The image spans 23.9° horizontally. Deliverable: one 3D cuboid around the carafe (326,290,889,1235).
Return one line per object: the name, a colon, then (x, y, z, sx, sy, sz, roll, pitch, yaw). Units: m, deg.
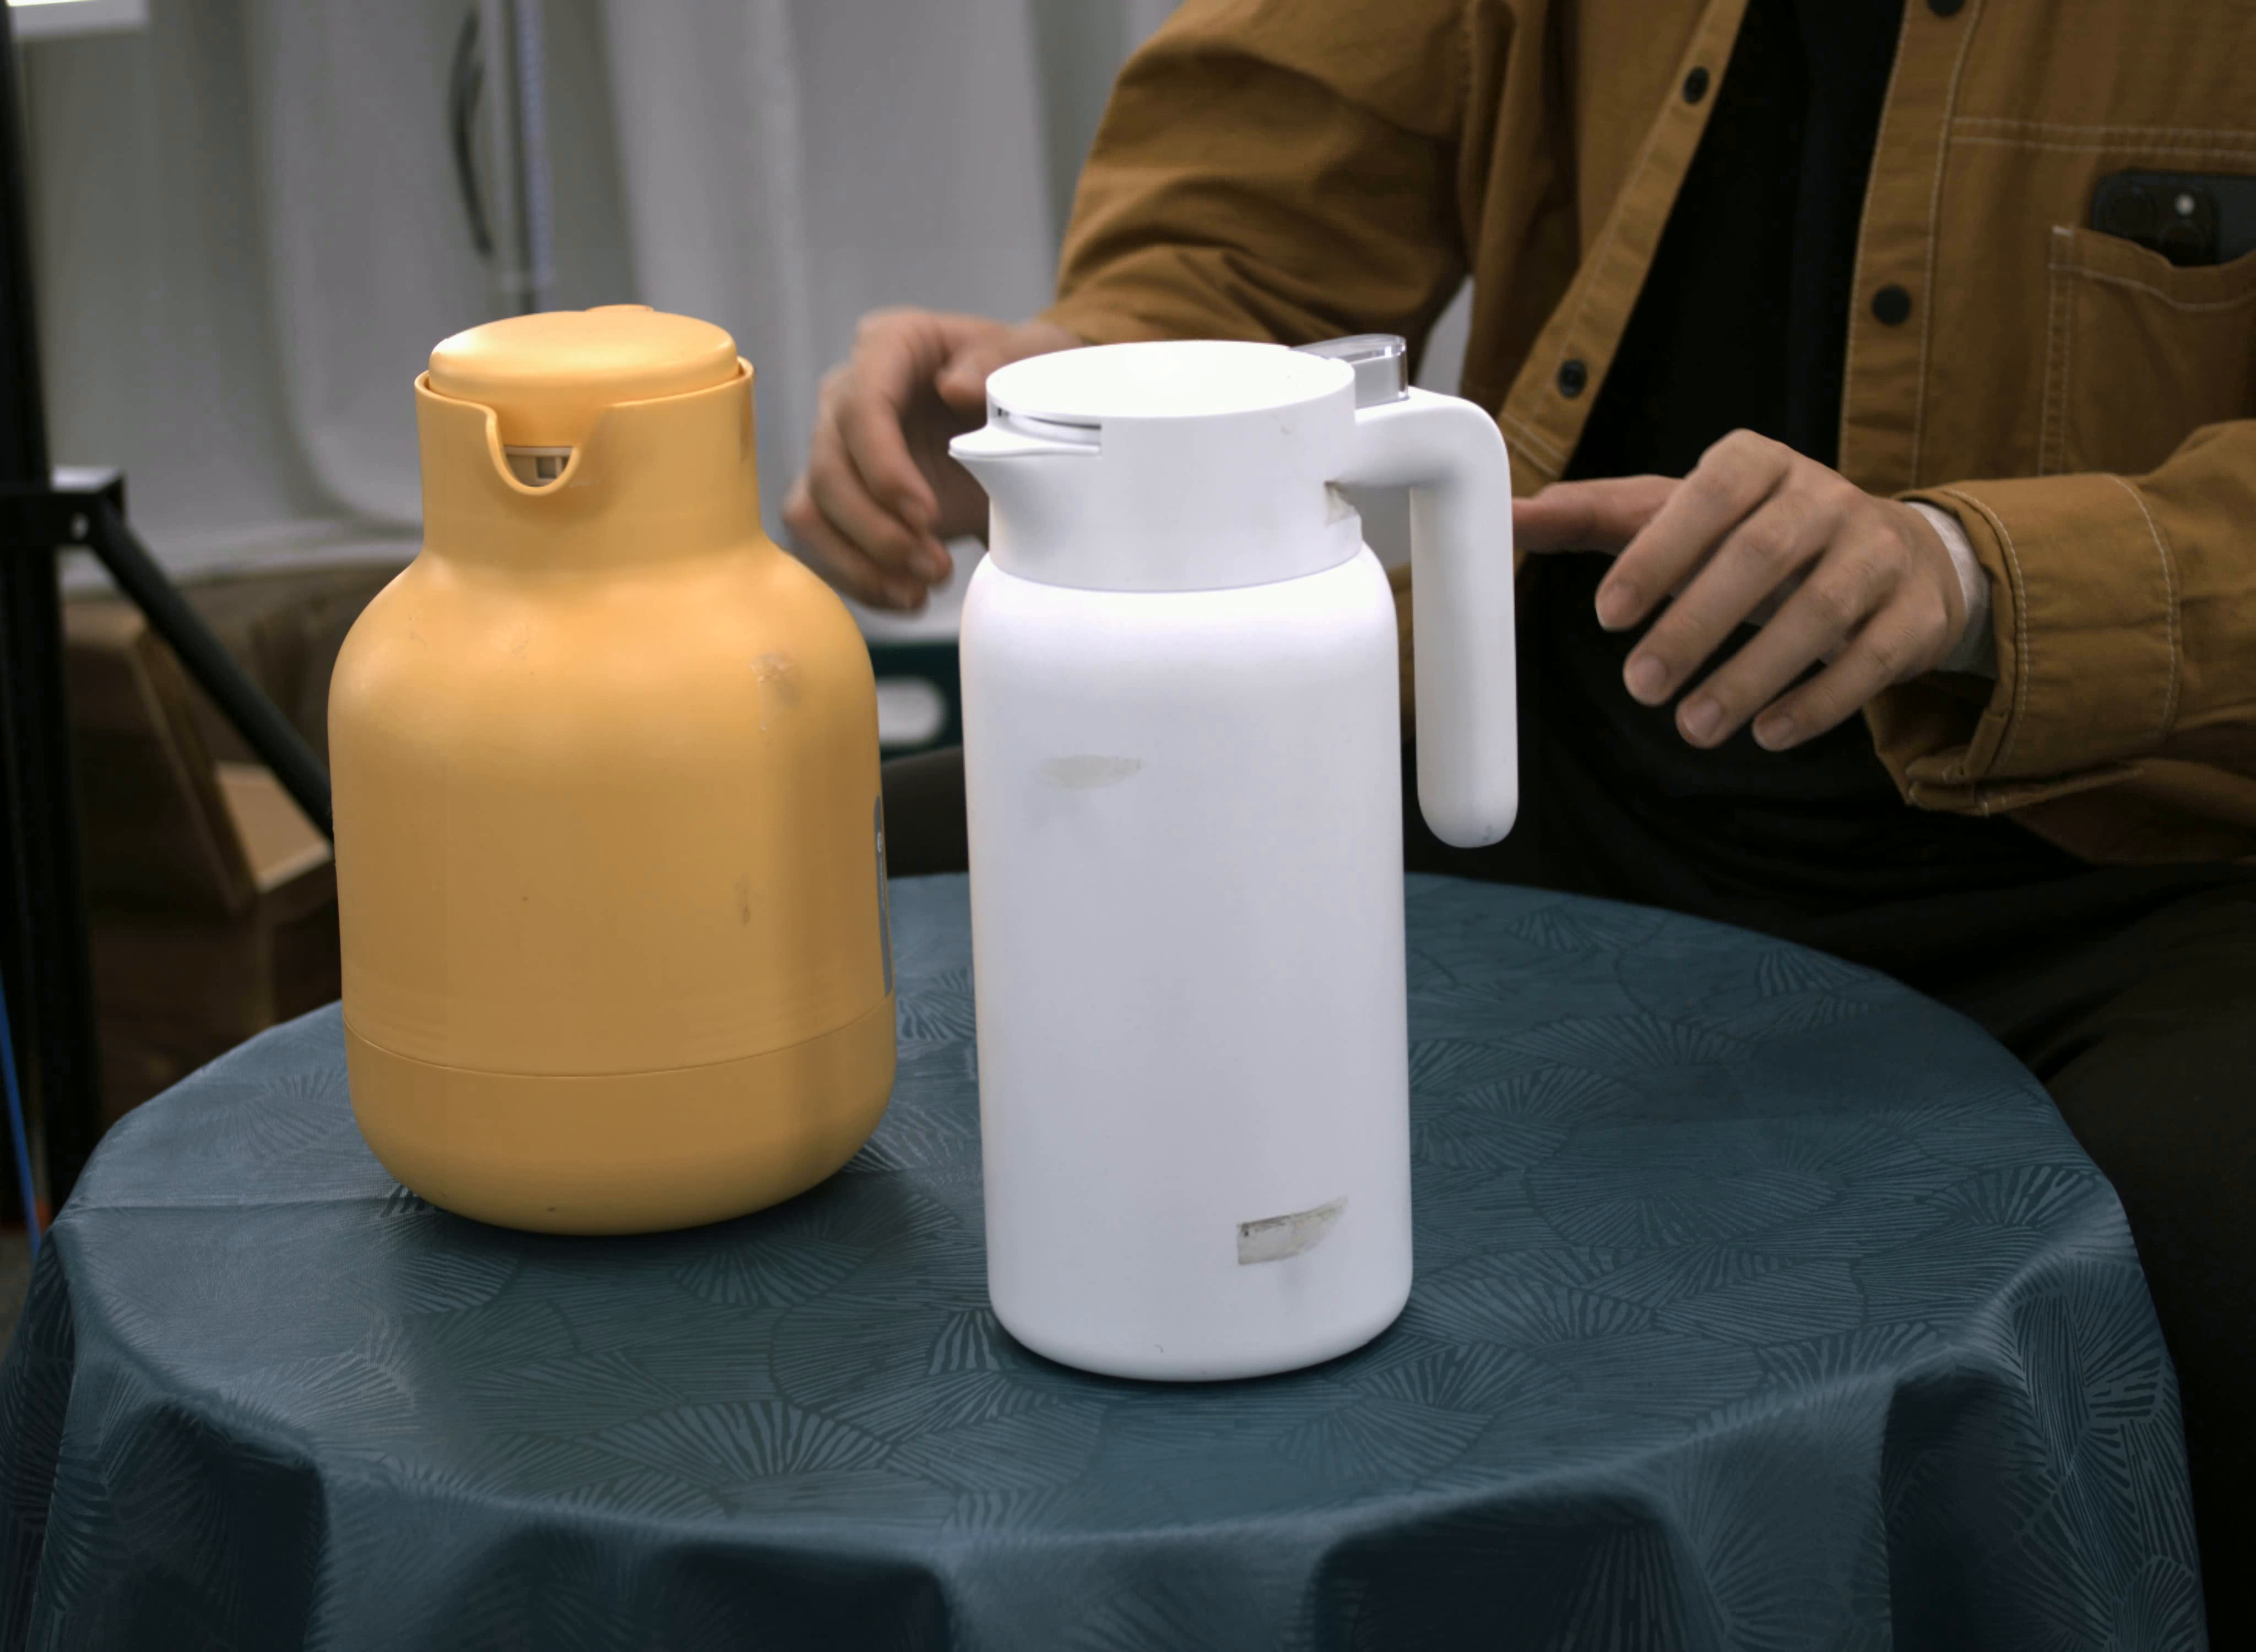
carafe: (-0.149, -0.027, 1.577, 0.164, 0.260, 0.202, 3, 17, 9)

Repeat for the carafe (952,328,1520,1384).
carafe: (0.030, 0.004, 1.430, 0.169, 0.269, 0.126, -12, 16, -32)
